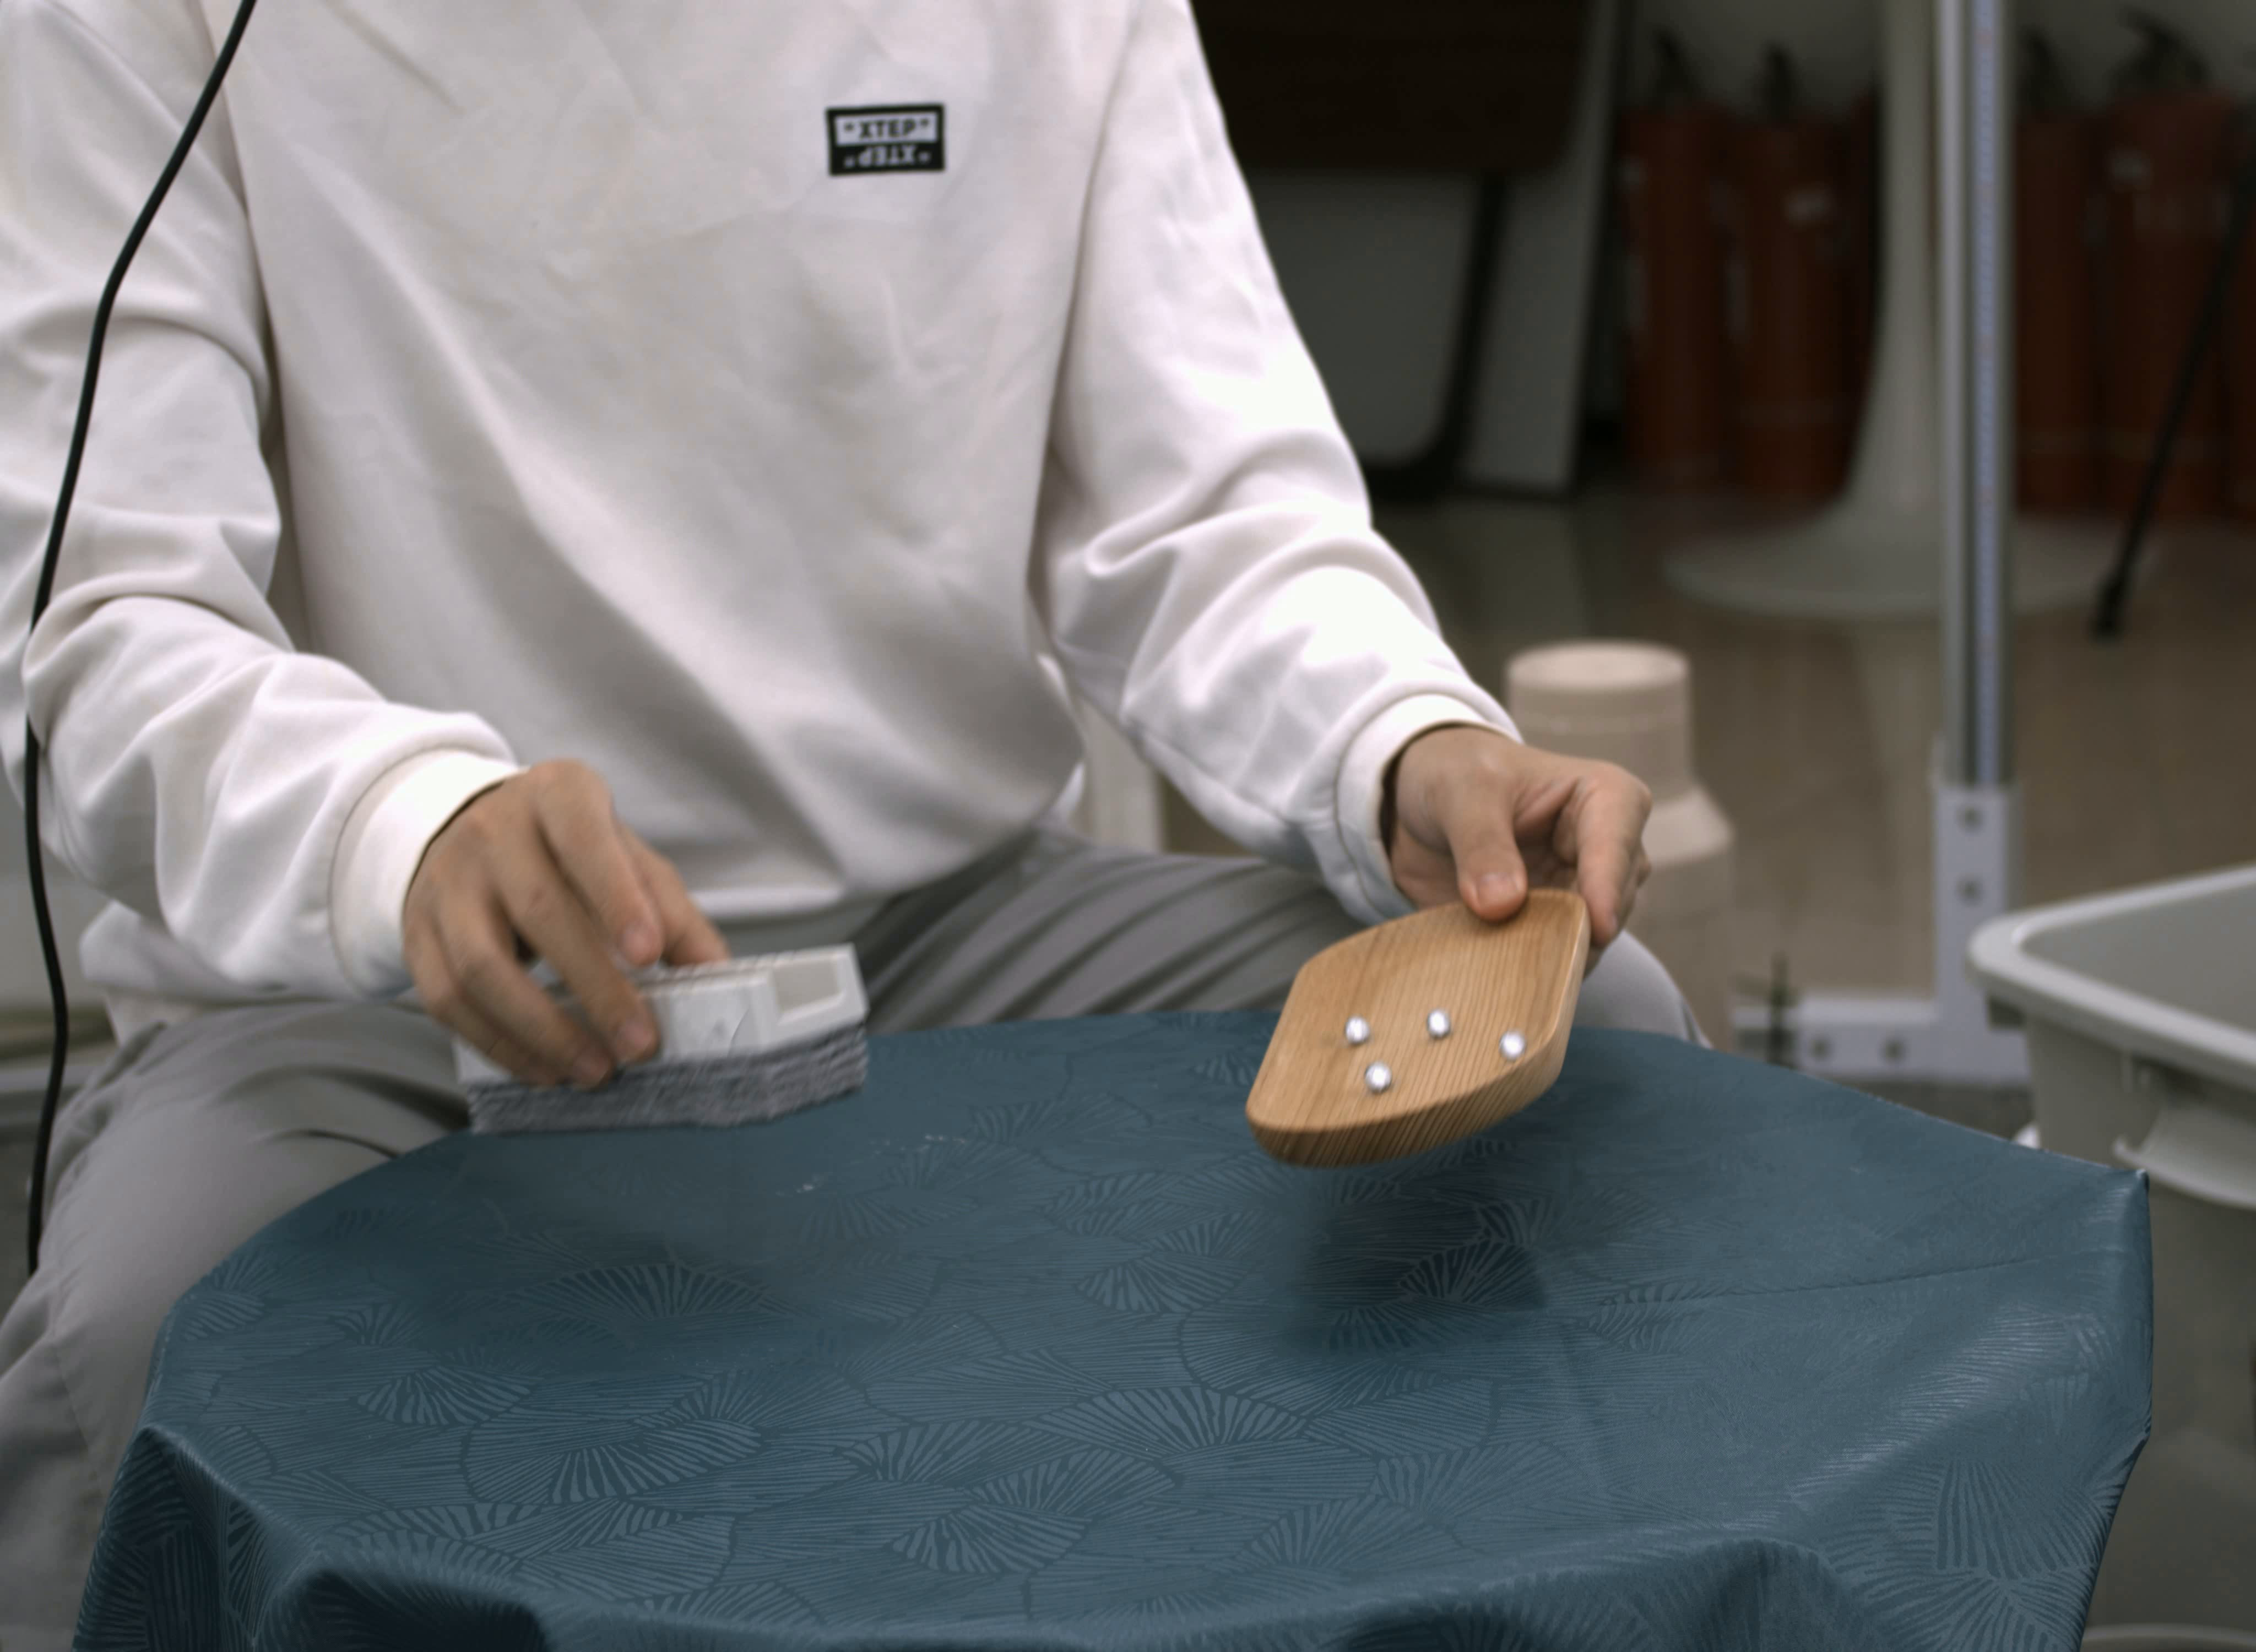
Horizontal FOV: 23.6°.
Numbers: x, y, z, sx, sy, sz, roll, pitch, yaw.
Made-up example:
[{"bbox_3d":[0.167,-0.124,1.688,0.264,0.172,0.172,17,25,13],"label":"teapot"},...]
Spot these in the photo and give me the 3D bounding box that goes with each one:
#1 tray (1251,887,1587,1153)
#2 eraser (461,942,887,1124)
[{"bbox_3d":[0.095,0.060,1.708,0.101,0.020,0.230,-14,10,11],"label":"tray"},{"bbox_3d":[-0.142,0.065,1.698,0.135,0.047,0.049,-8,1,36],"label":"eraser"}]
